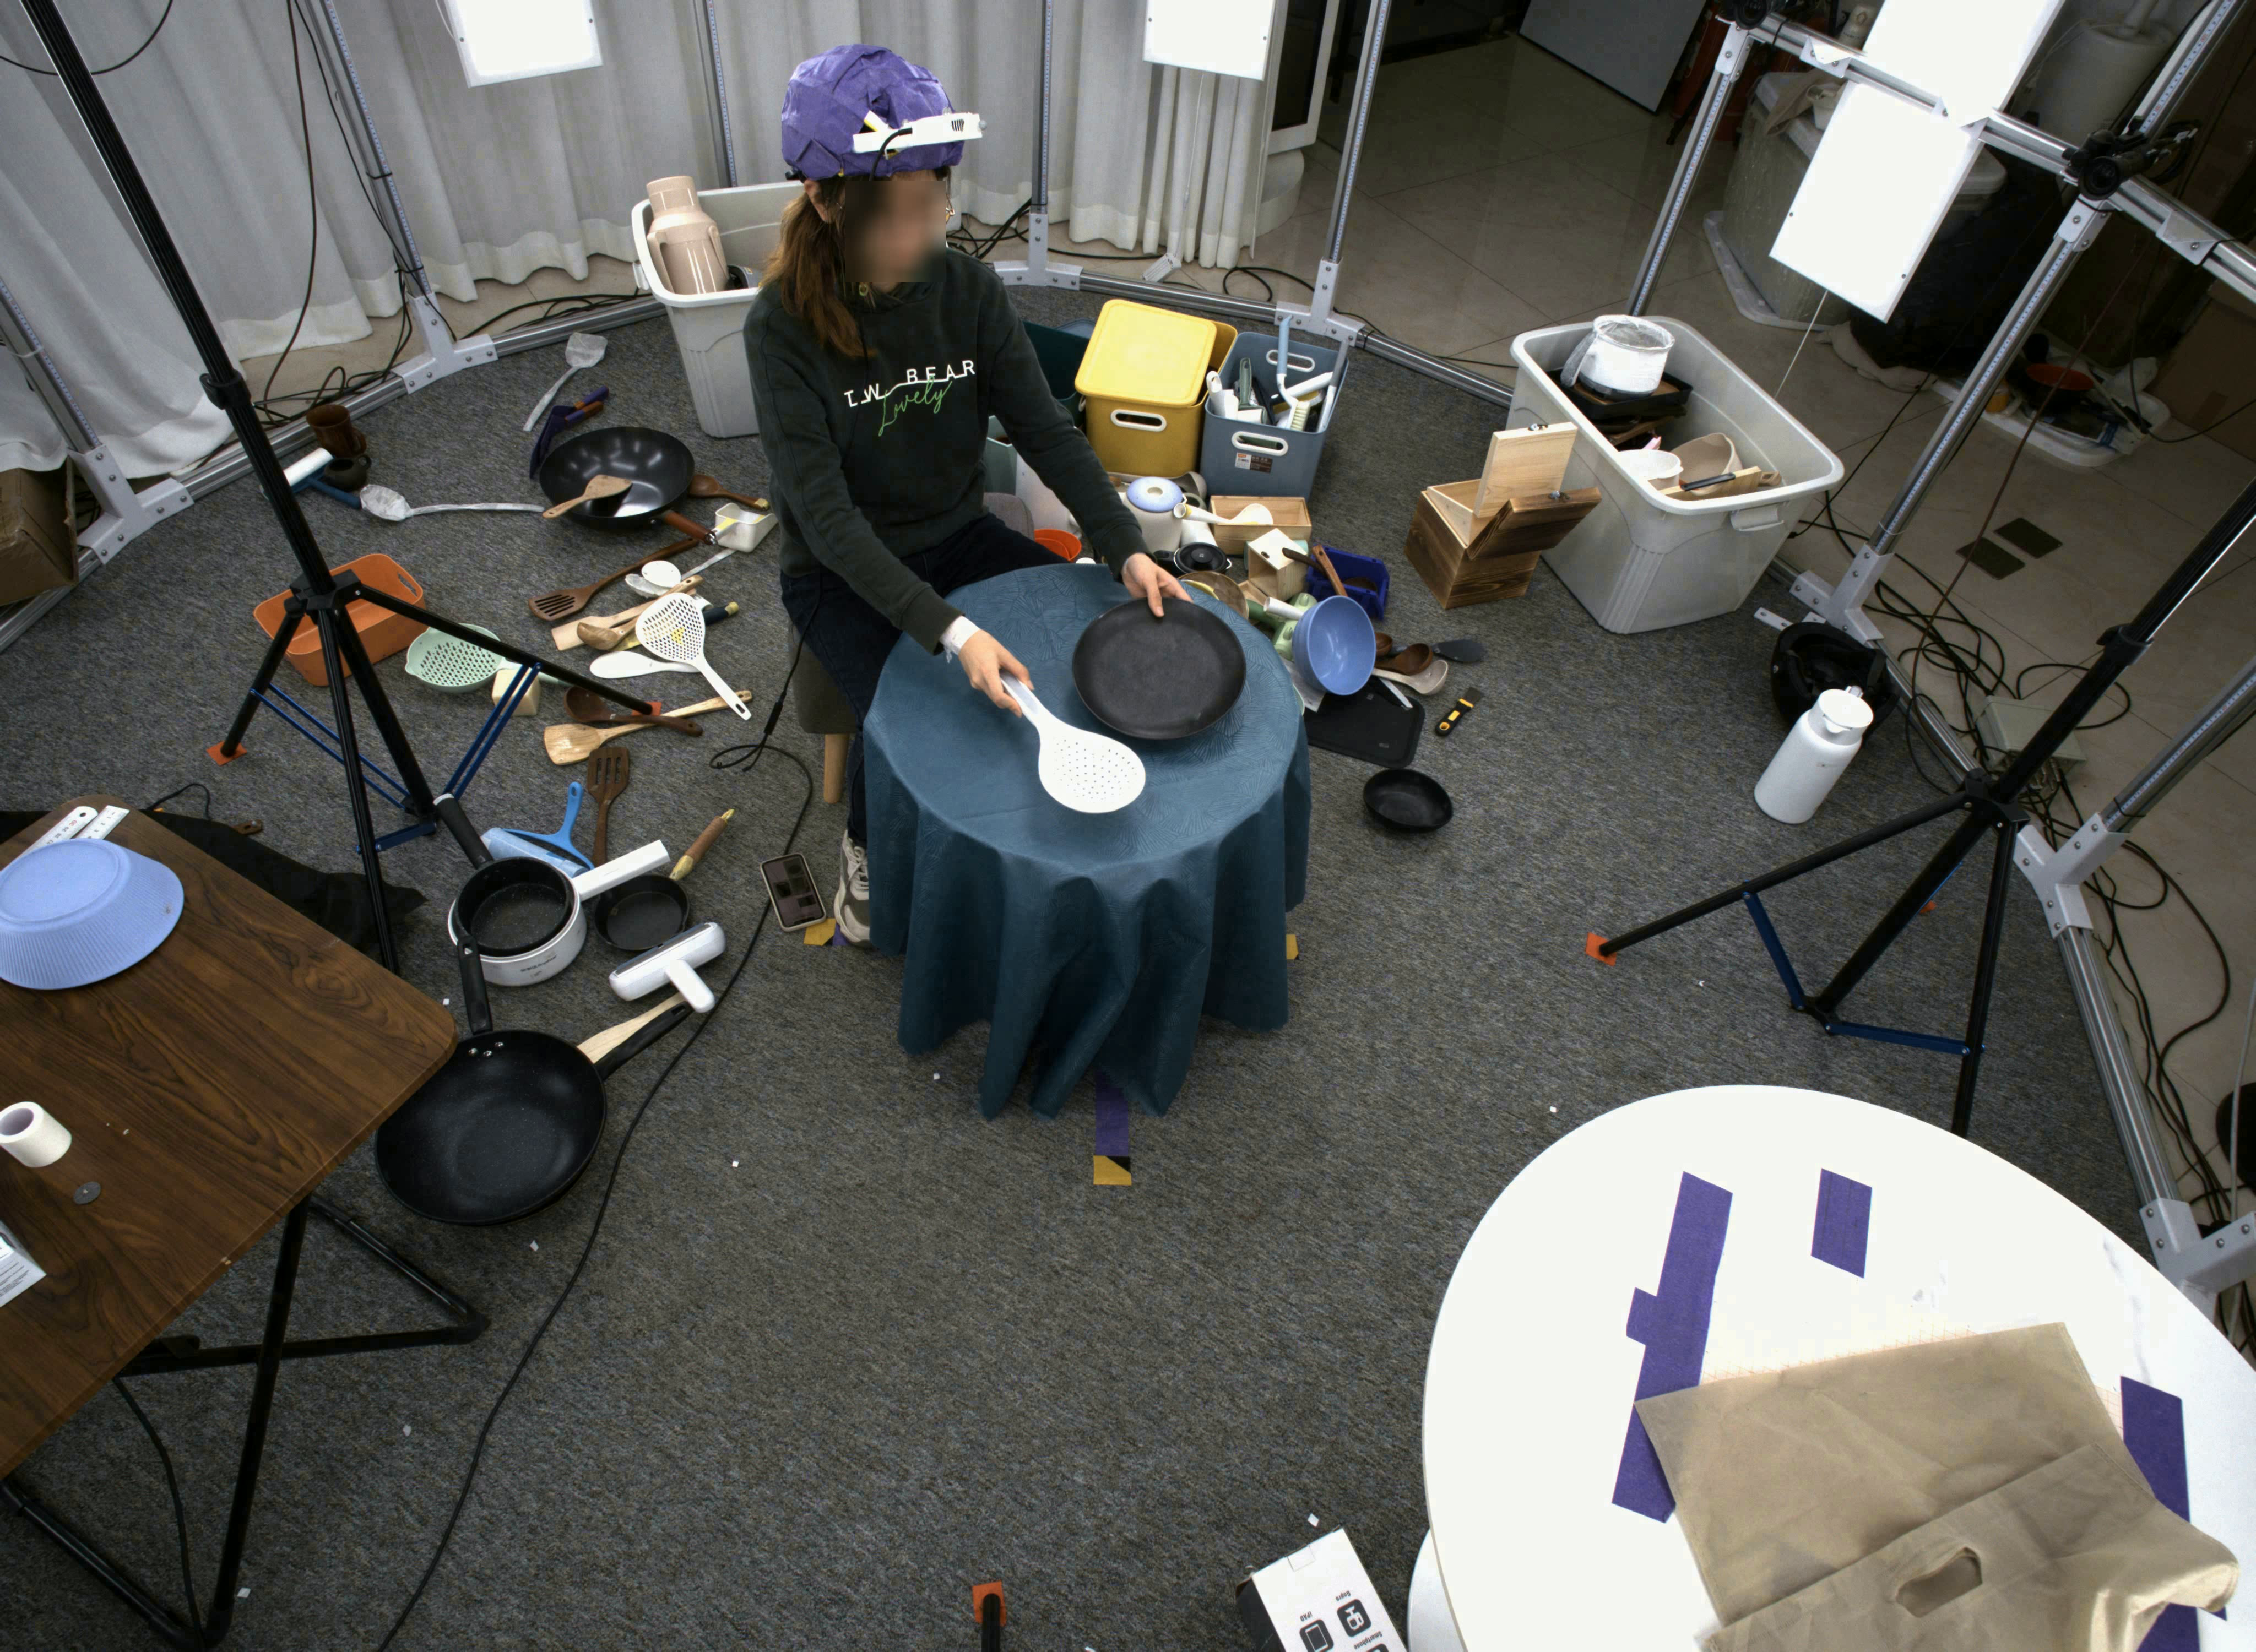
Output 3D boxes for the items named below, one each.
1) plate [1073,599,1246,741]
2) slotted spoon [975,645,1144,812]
[{"bbox_3d":[0.044,-0.220,1.817,0.244,0.023,0.250,0,59,0],"label":"plate"},{"bbox_3d":[-0.108,-0.135,1.718,0.136,0.044,0.356,-22,58,-27],"label":"slotted spoon"}]
